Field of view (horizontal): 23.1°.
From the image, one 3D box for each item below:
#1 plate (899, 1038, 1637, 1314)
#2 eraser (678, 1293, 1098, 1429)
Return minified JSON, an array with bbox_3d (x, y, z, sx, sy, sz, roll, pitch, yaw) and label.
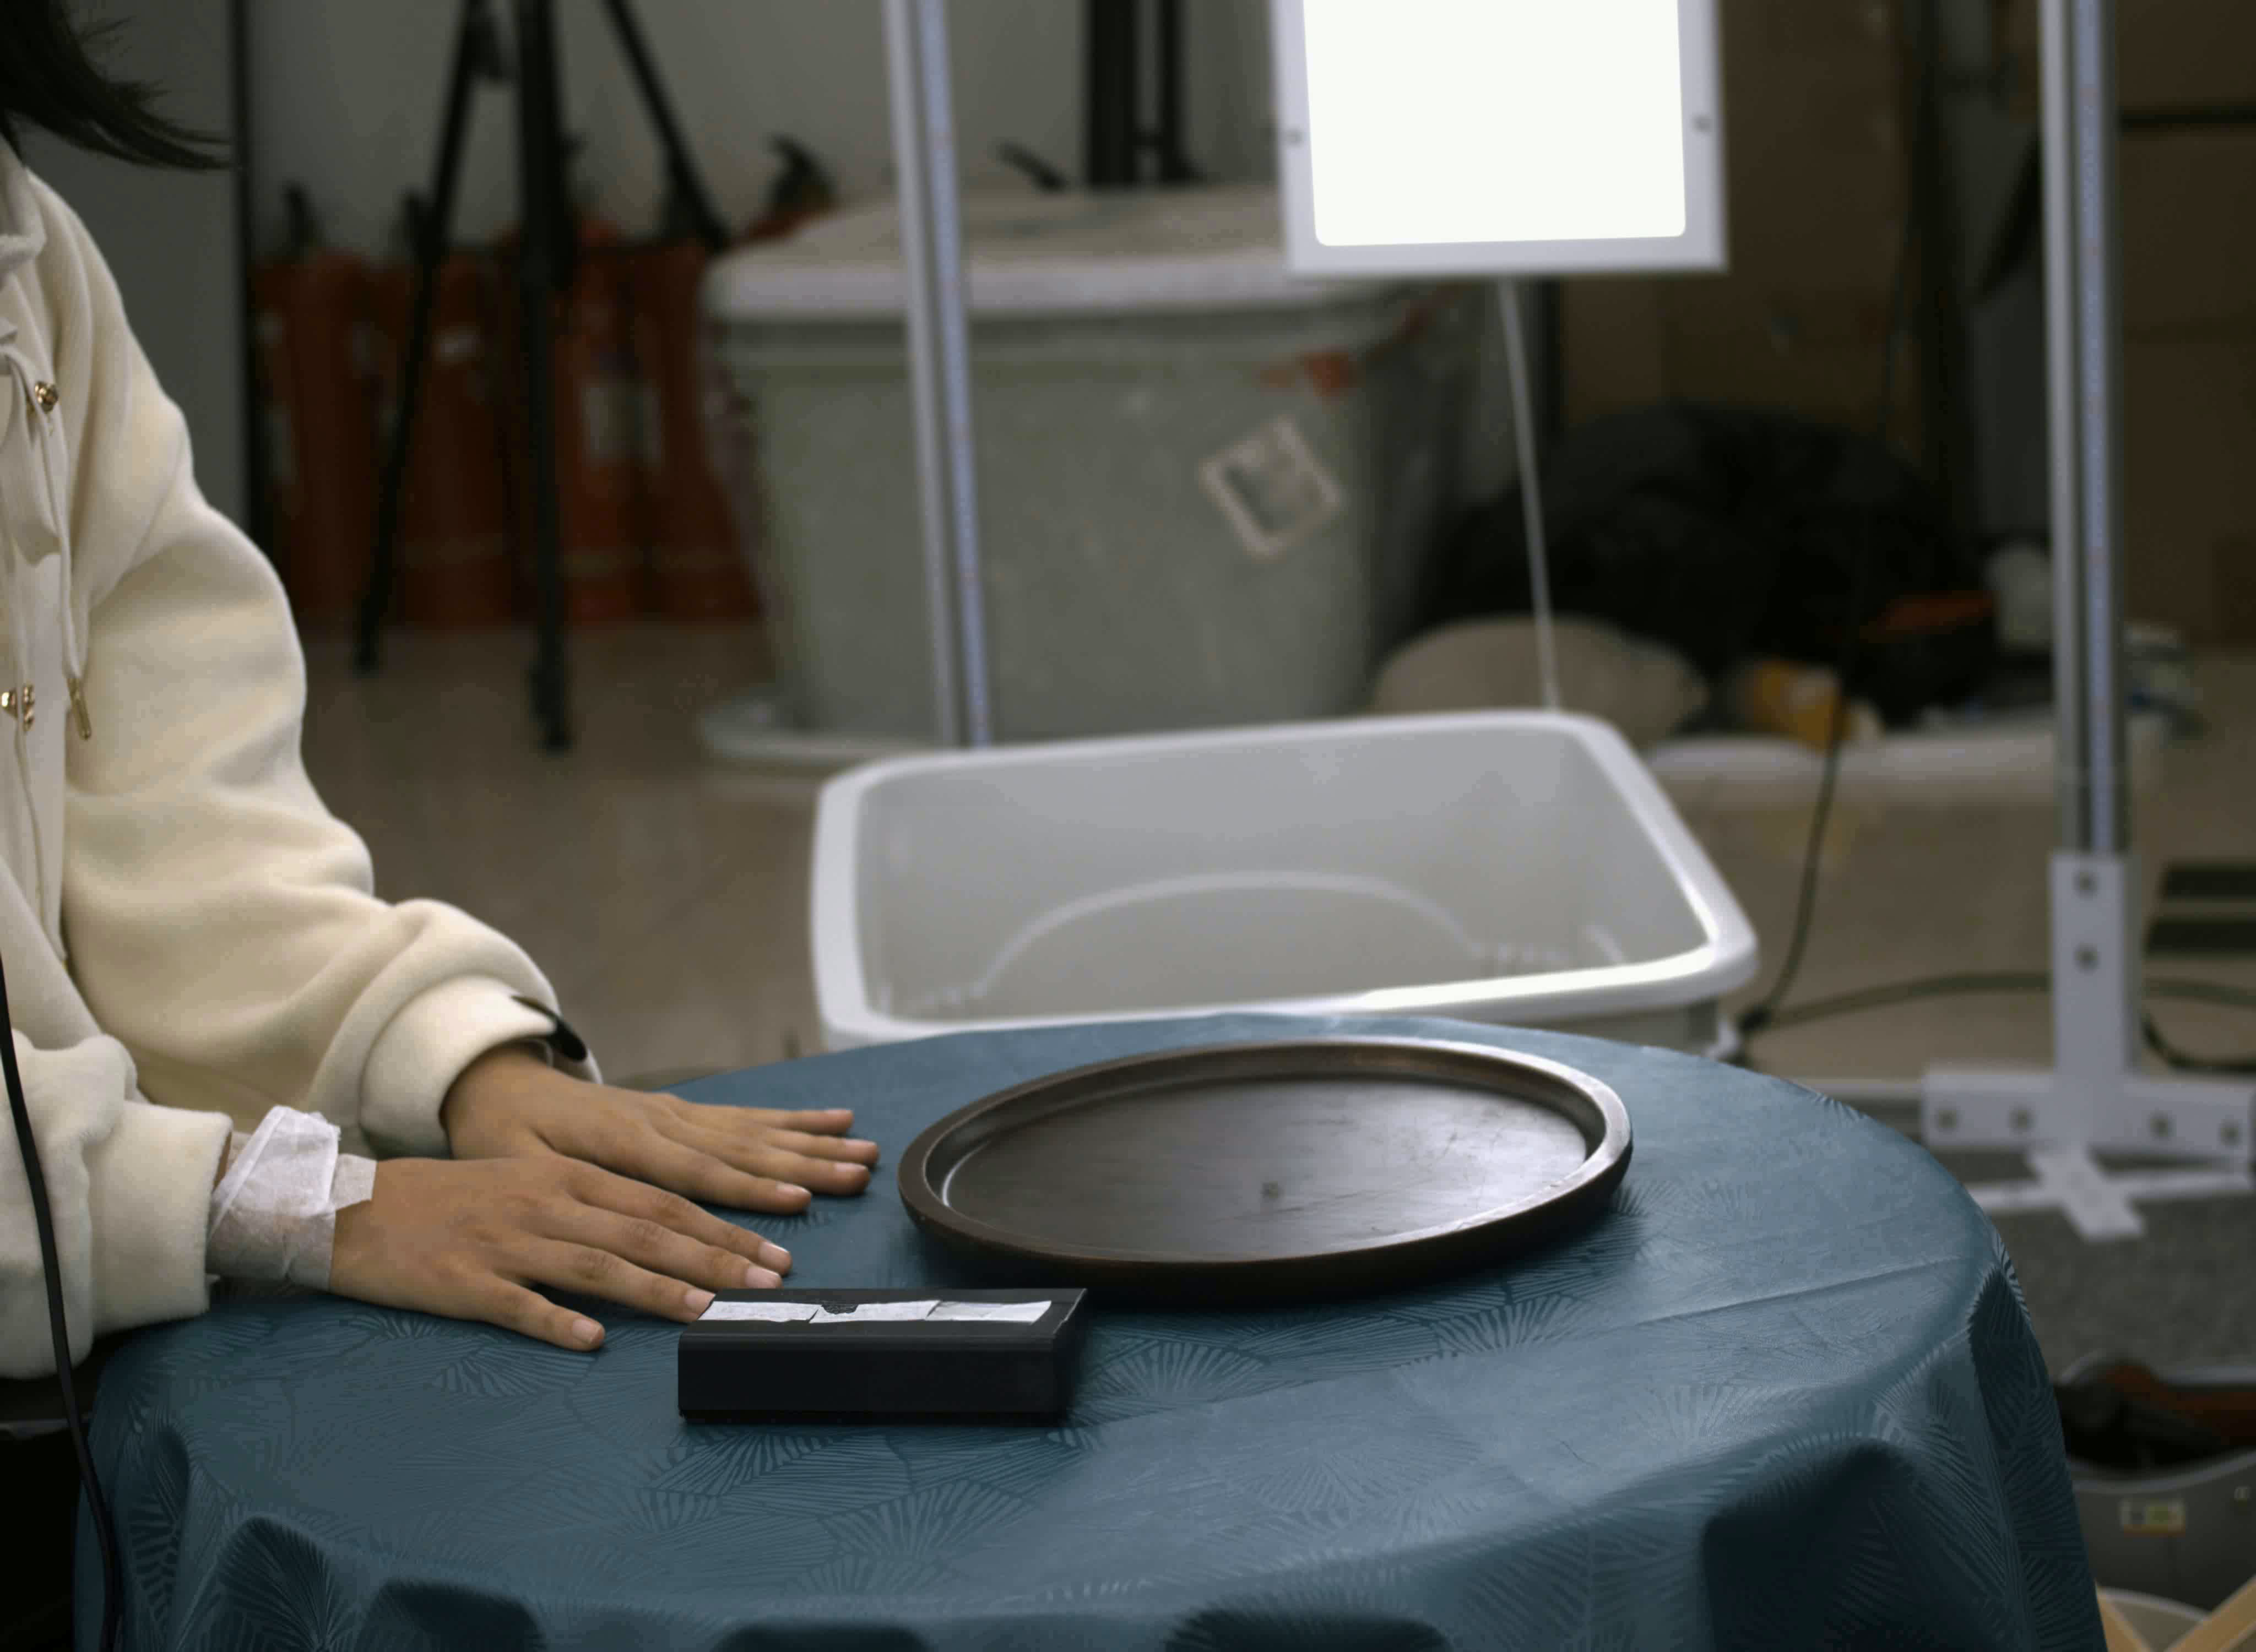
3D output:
[{"bbox_3d":[0.048,0.116,1.871,0.254,0.029,0.254,-4,14,0],"label":"plate"},{"bbox_3d":[-0.073,0.166,1.711,0.127,0.030,0.053,-3,12,16],"label":"eraser"}]
